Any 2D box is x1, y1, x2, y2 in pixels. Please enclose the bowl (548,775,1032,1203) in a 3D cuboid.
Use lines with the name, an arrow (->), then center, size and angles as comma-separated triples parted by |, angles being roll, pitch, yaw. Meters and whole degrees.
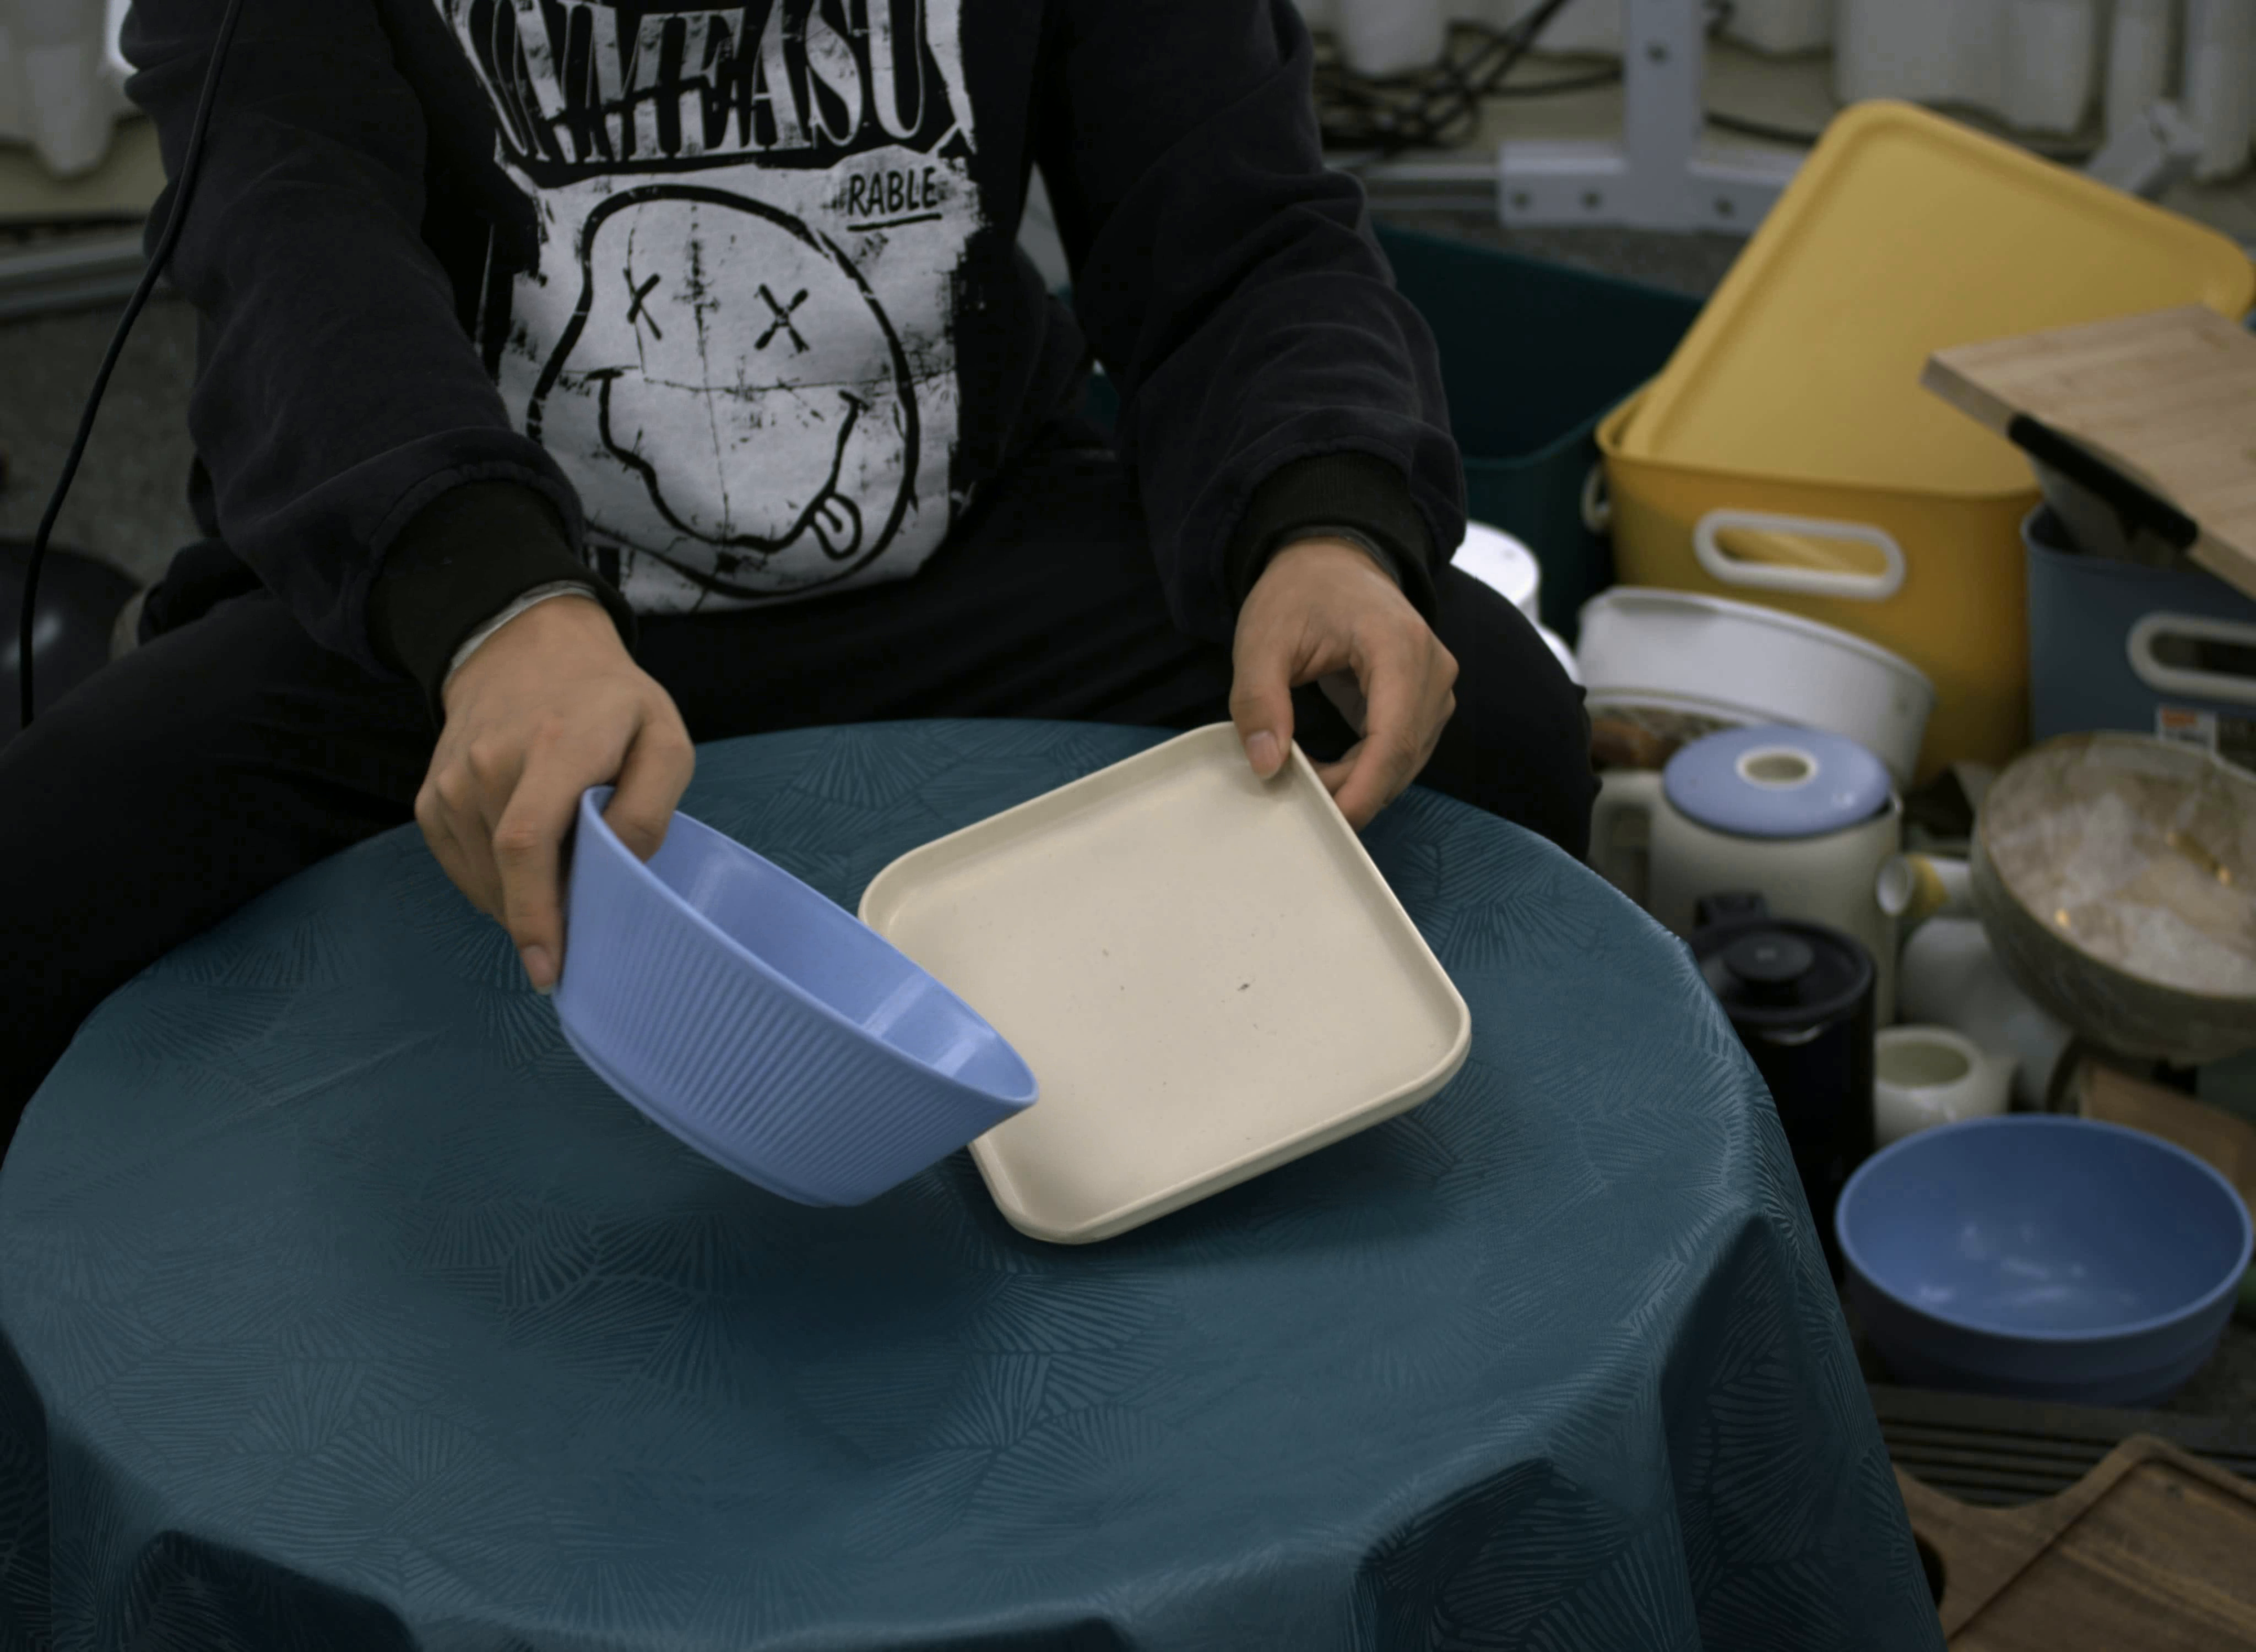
bowl -> -0.120, 0.061, 1.799 | 0.175, 0.070, 0.177 | 35, 7, -4

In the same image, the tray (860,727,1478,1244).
tray -> 0.011, 0.053, 1.924 | 0.171, 0.017, 0.242 | -22, 34, -6
